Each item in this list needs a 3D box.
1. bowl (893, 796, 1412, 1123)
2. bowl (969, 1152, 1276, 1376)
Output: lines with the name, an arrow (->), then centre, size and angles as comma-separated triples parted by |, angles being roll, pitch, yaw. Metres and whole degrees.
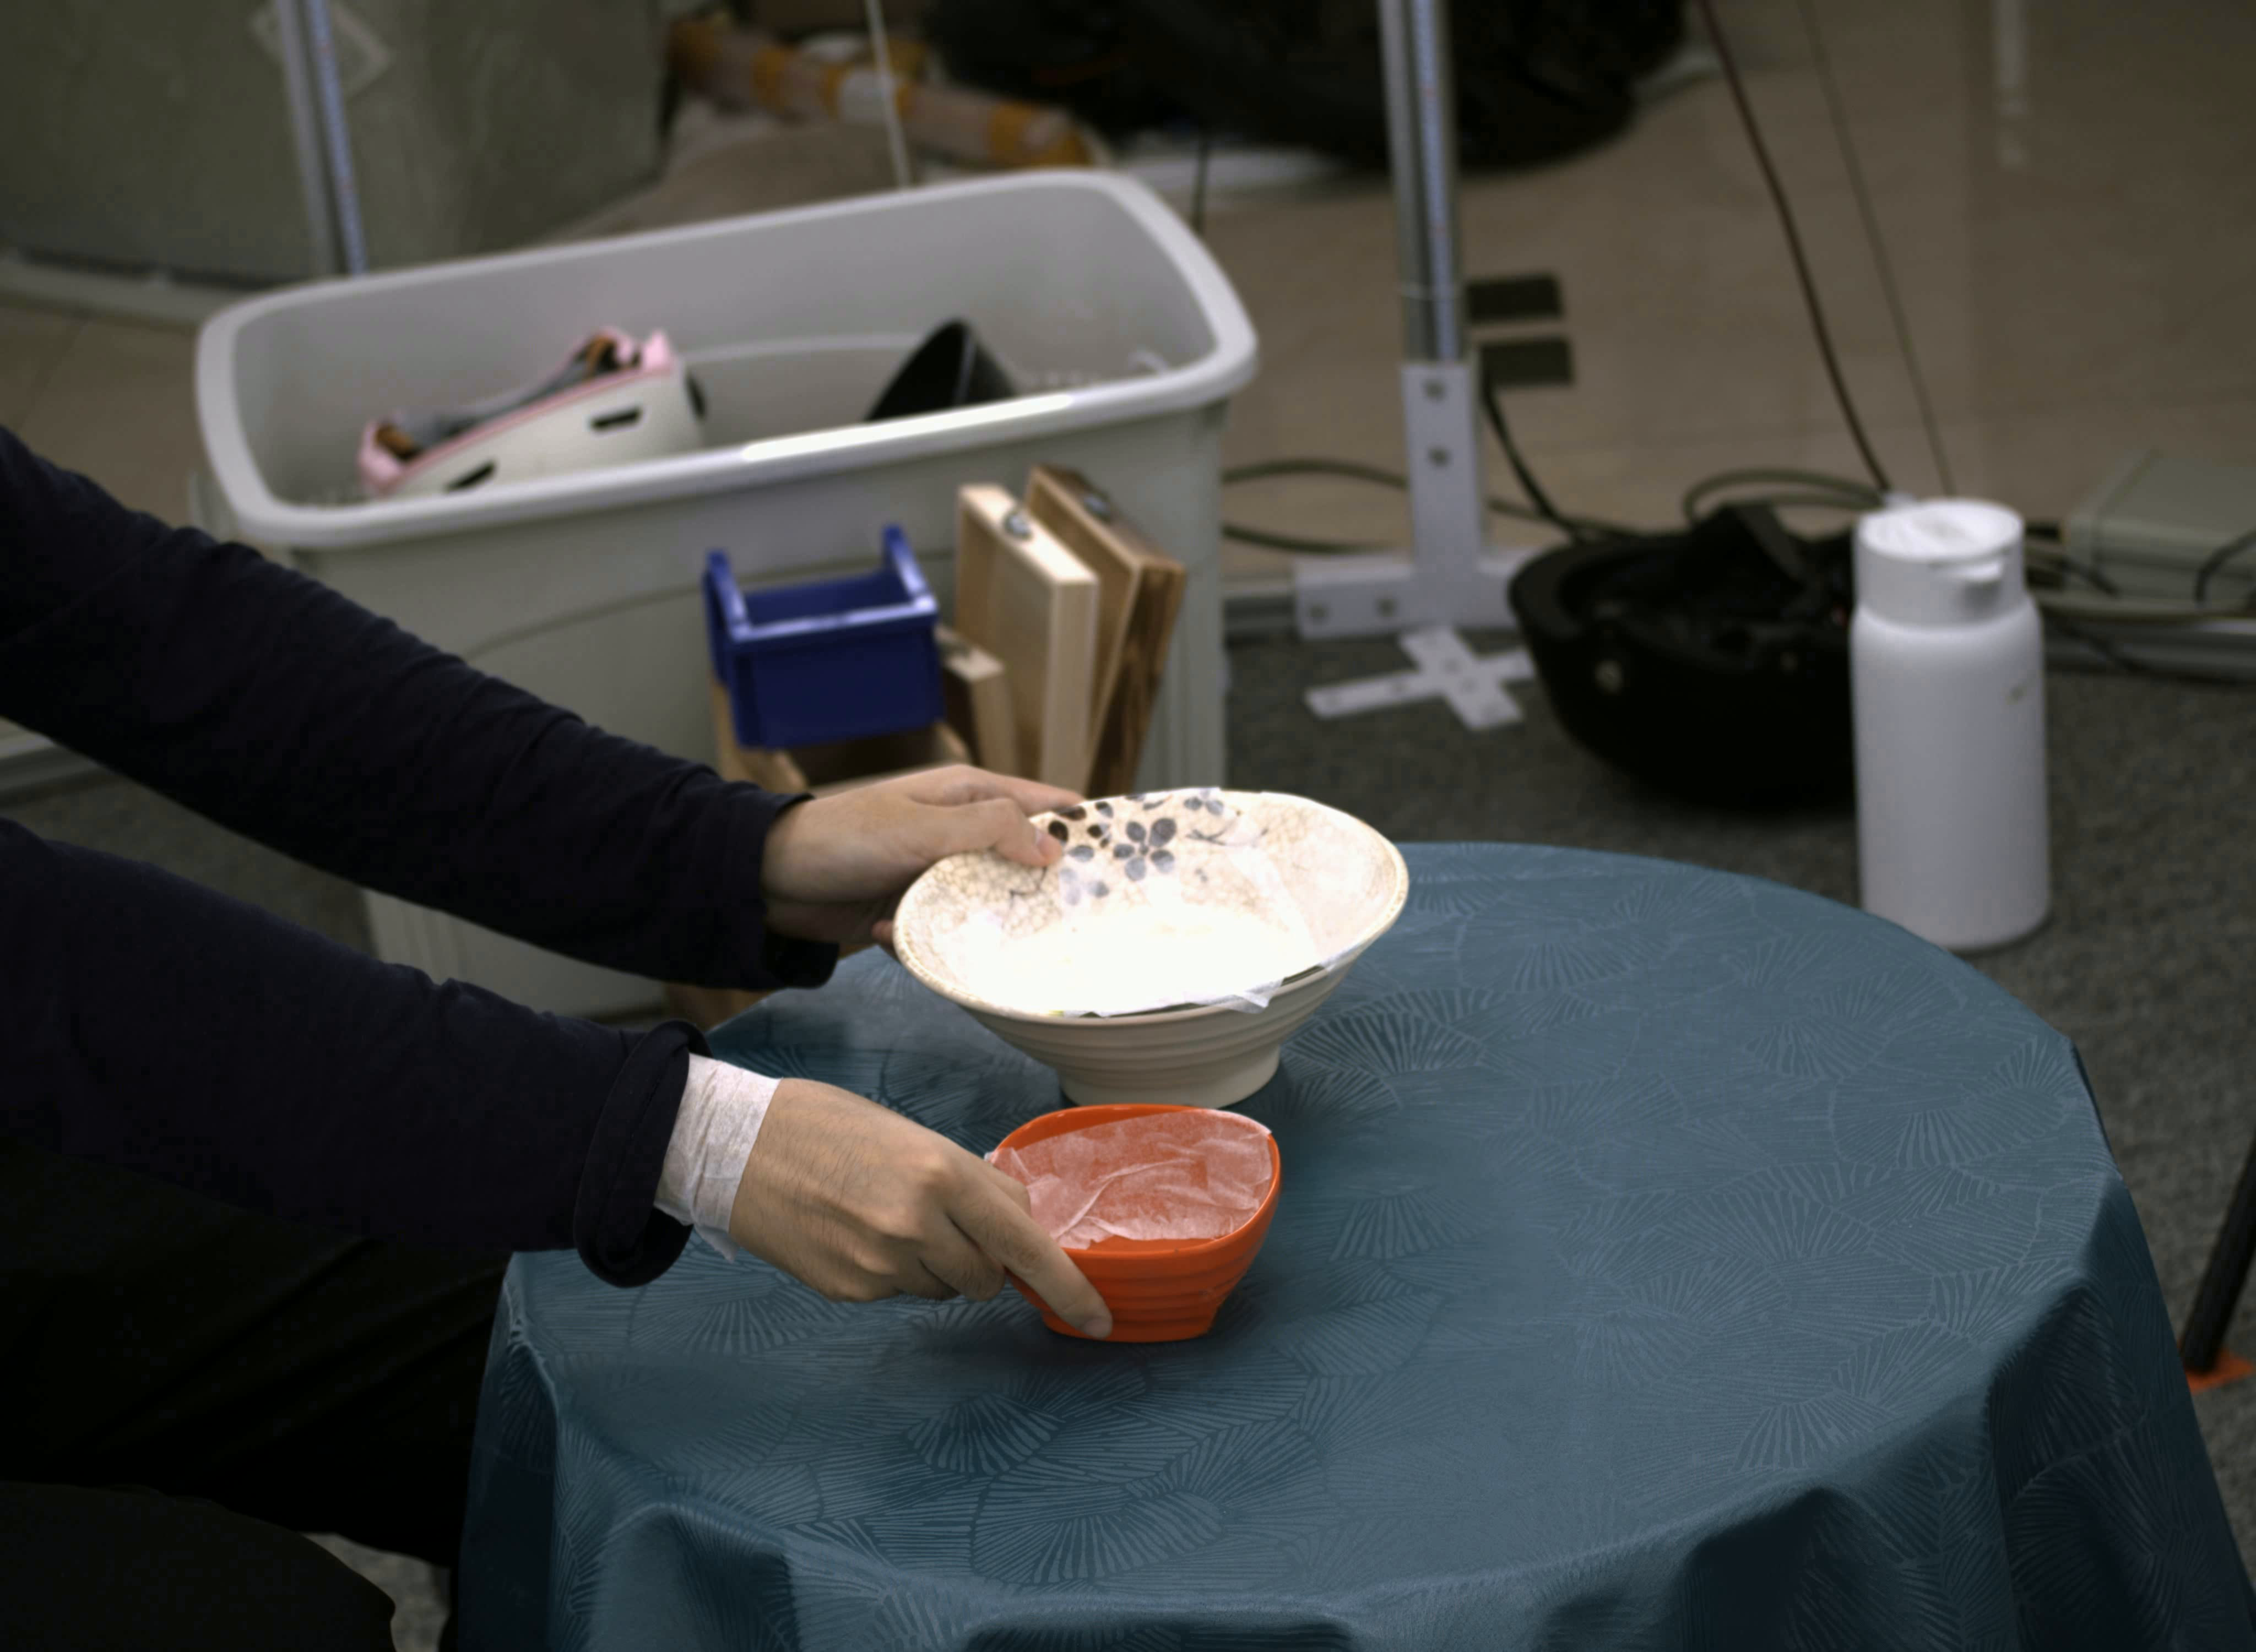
bowl -> 0.013, 0.063, 2.222 | 0.203, 0.079, 0.201 | -6, 24, 3
bowl -> -0.001, 0.162, 2.060 | 0.119, 0.052, 0.117 | -3, 21, 1
